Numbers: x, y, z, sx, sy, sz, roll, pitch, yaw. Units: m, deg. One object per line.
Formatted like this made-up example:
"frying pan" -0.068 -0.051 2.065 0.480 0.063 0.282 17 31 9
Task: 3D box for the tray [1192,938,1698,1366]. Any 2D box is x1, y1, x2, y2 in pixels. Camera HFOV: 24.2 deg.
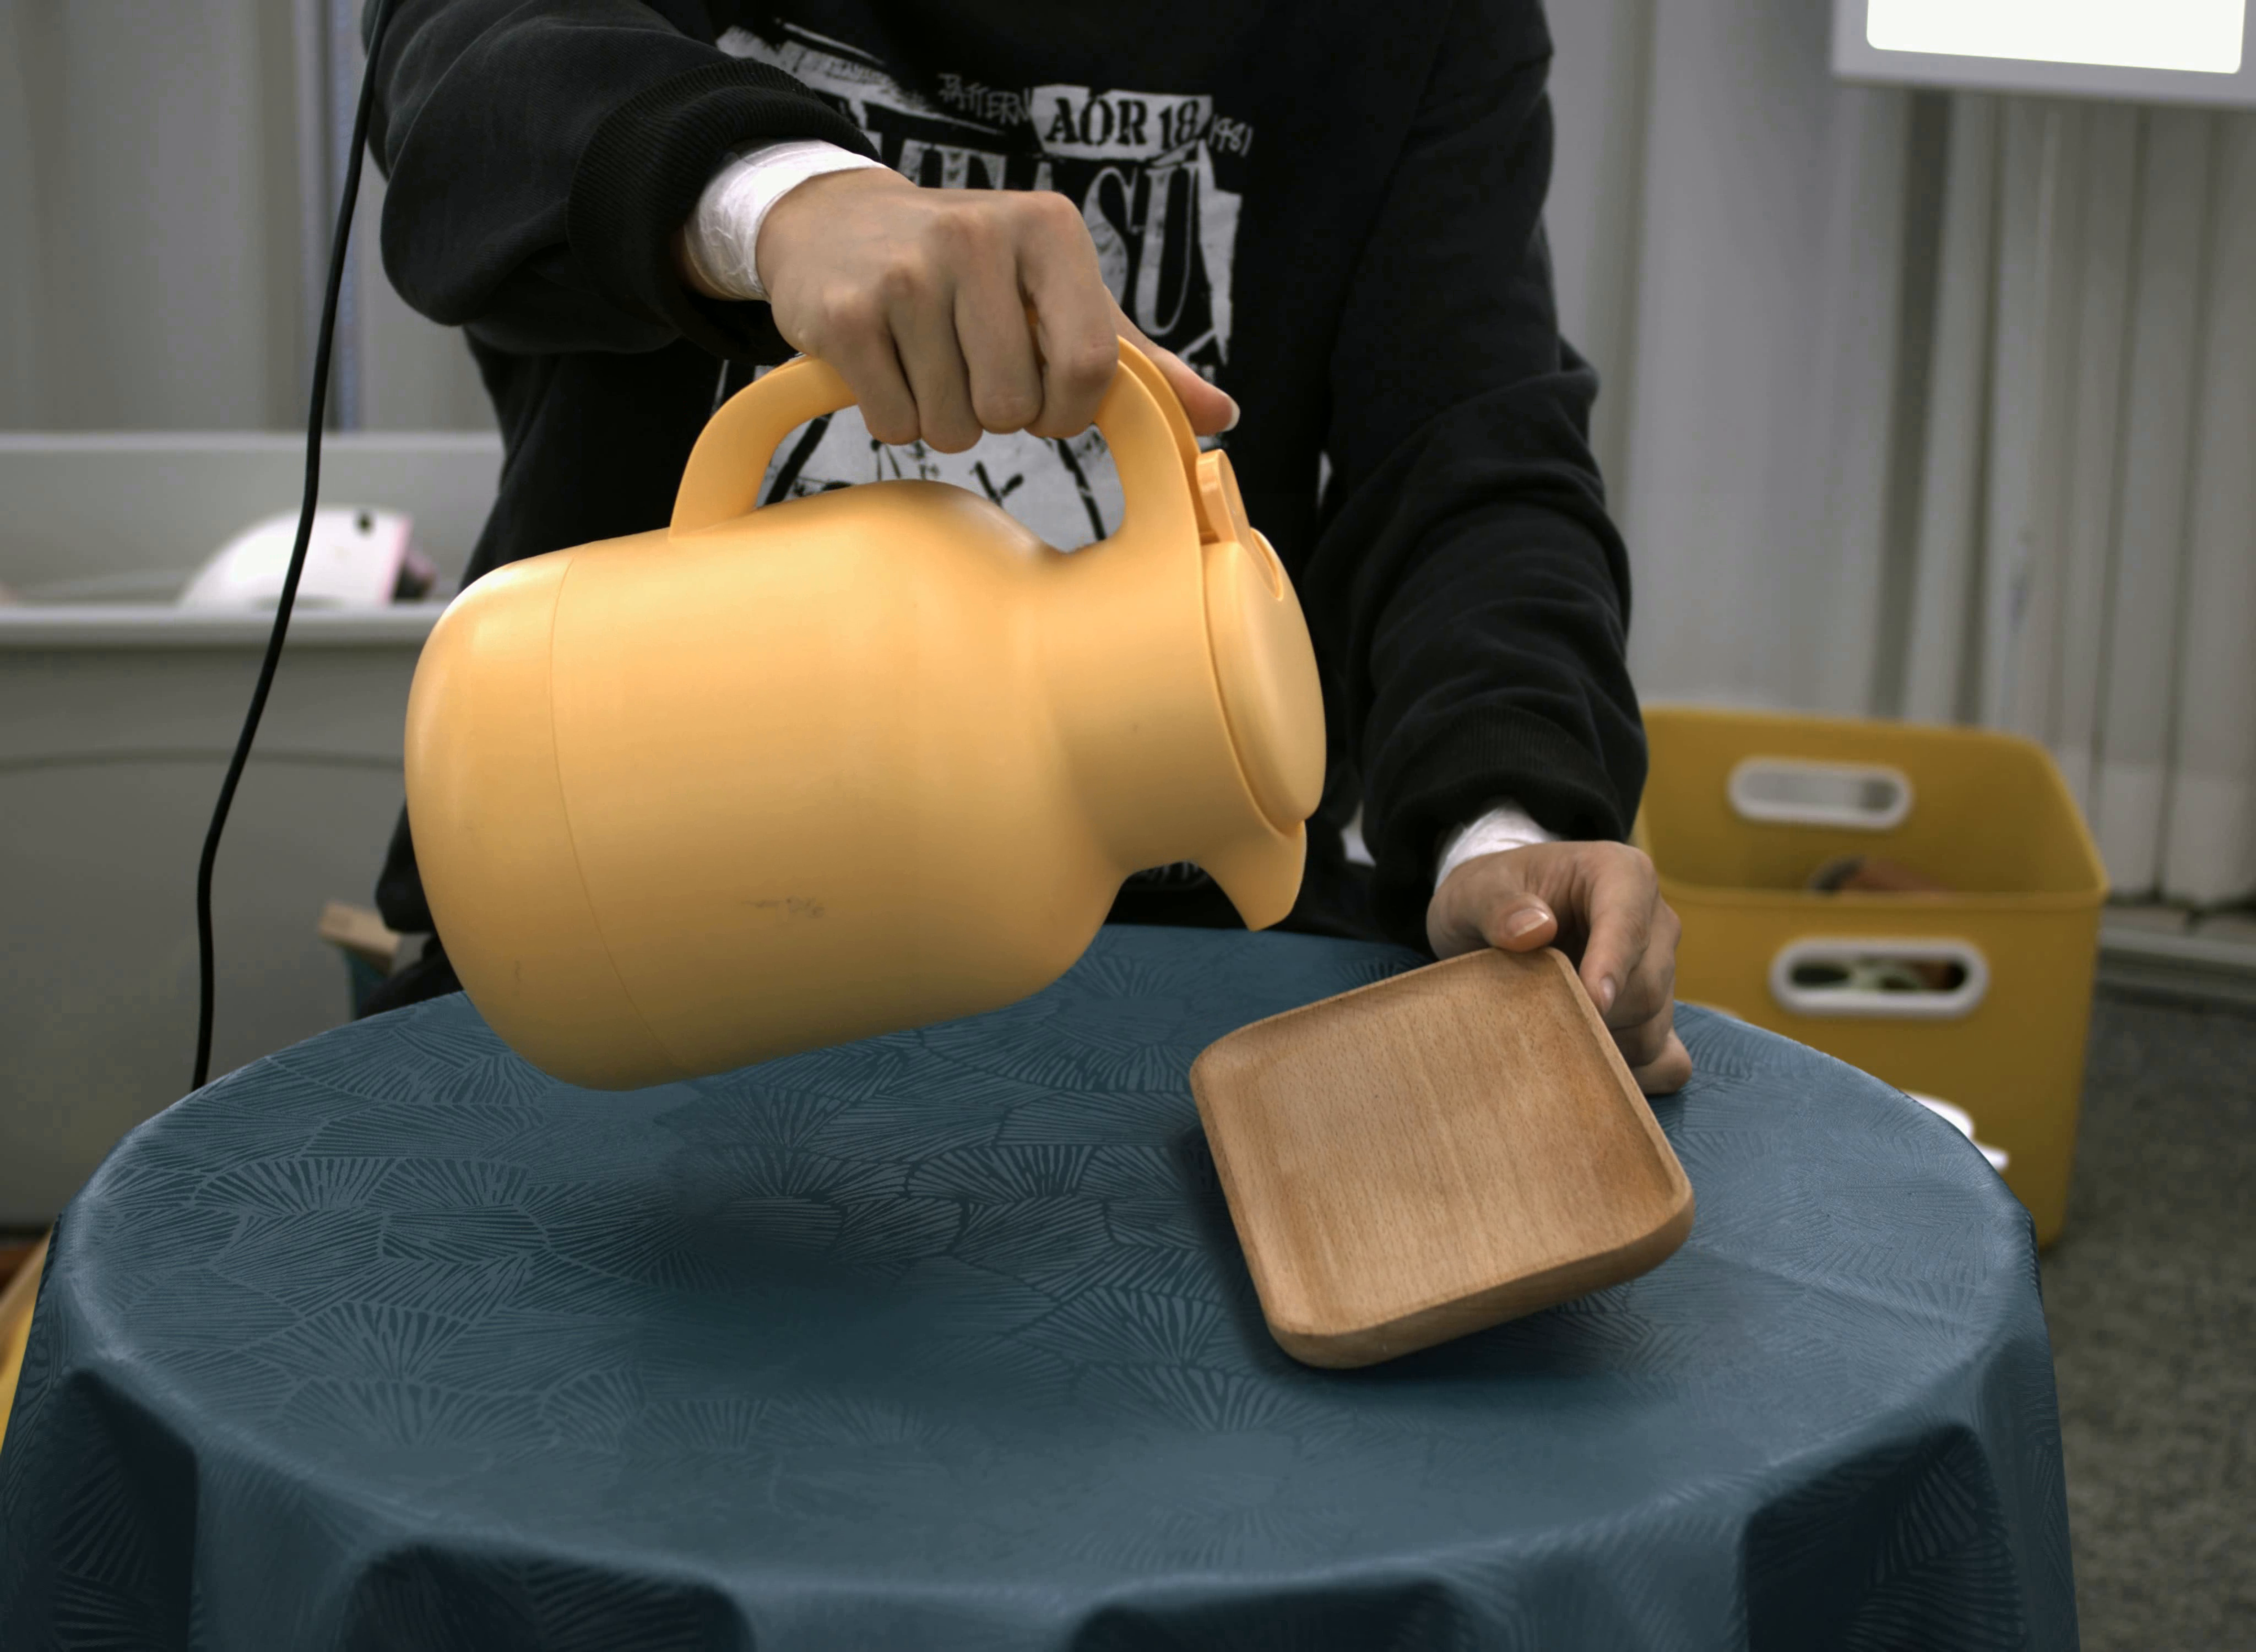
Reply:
"tray" 0.091 0.095 1.580 0.130 0.023 0.249 -15 18 0

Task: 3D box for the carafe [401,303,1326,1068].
"carafe" -0.076 -0.043 1.545 0.259 0.203 0.163 -10 8 12
